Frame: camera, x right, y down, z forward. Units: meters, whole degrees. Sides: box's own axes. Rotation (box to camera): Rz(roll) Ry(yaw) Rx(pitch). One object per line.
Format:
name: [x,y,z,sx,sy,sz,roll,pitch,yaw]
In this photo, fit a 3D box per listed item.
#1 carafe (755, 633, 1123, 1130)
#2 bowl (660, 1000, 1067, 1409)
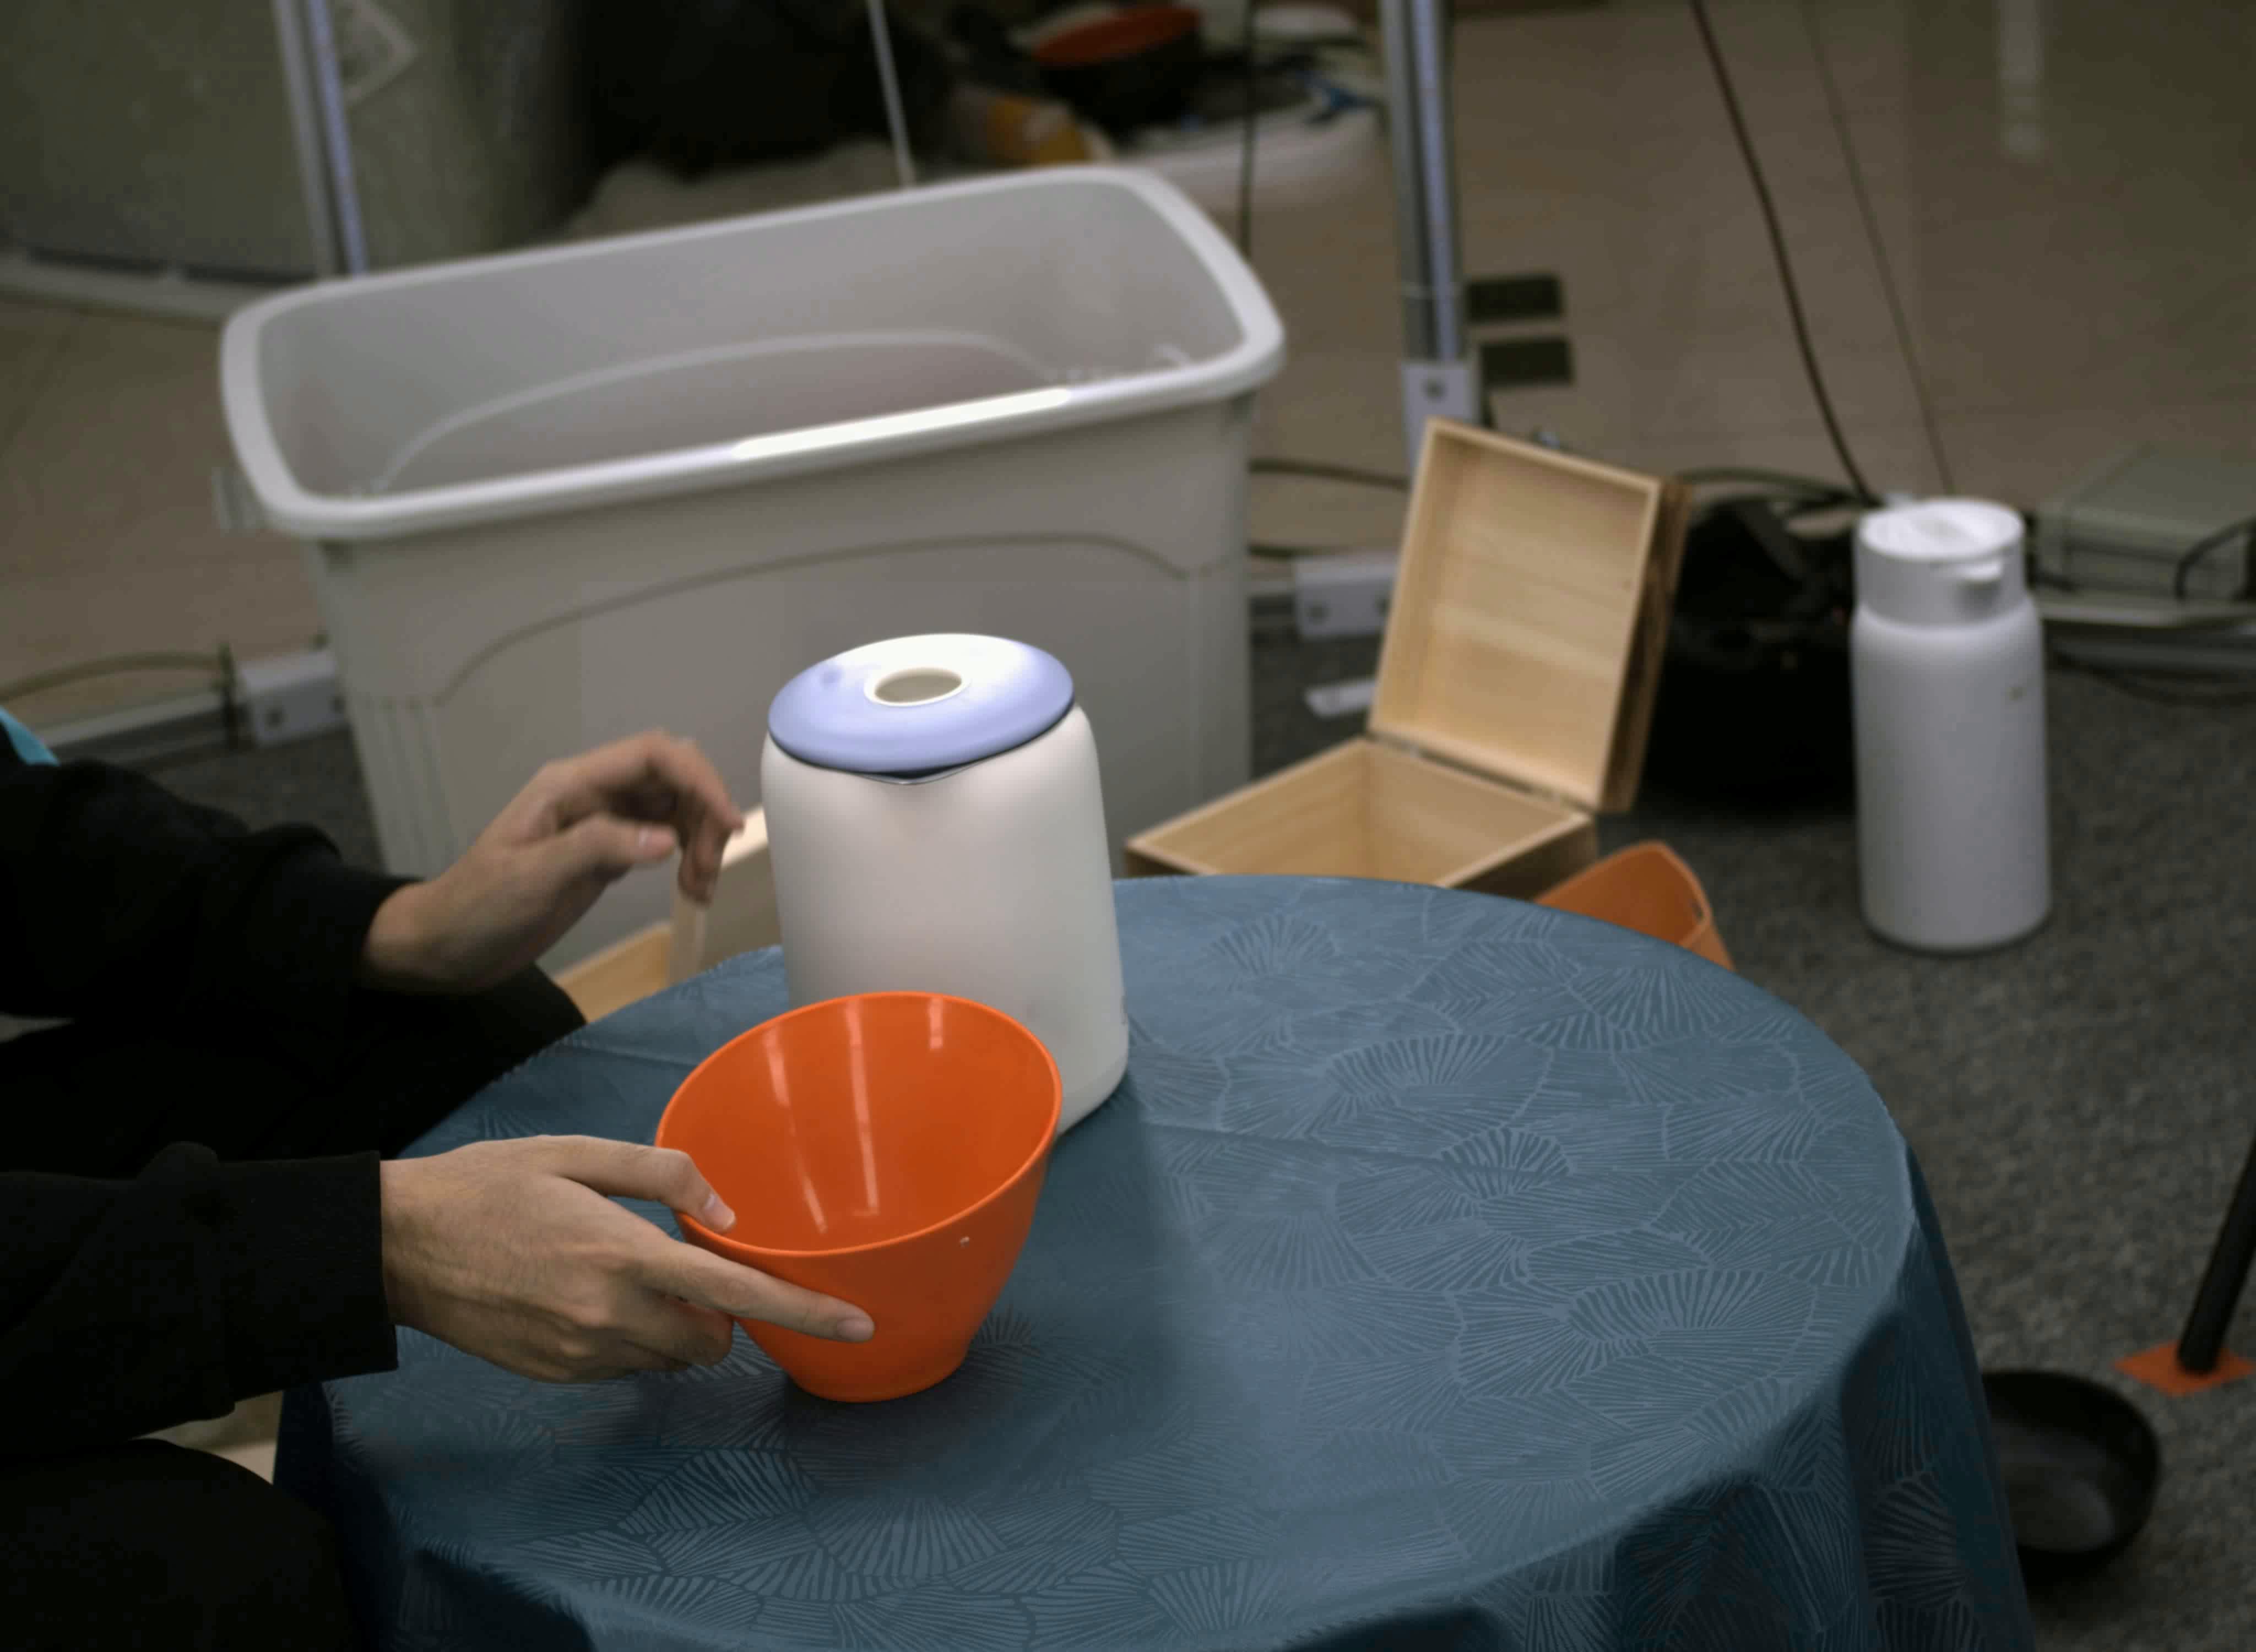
carafe: [-0.074,0.017,2.219,0.132,0.185,0.188,-5,23,0]
bowl: [-0.090,0.142,2.038,0.148,0.106,0.146,-5,26,3]
